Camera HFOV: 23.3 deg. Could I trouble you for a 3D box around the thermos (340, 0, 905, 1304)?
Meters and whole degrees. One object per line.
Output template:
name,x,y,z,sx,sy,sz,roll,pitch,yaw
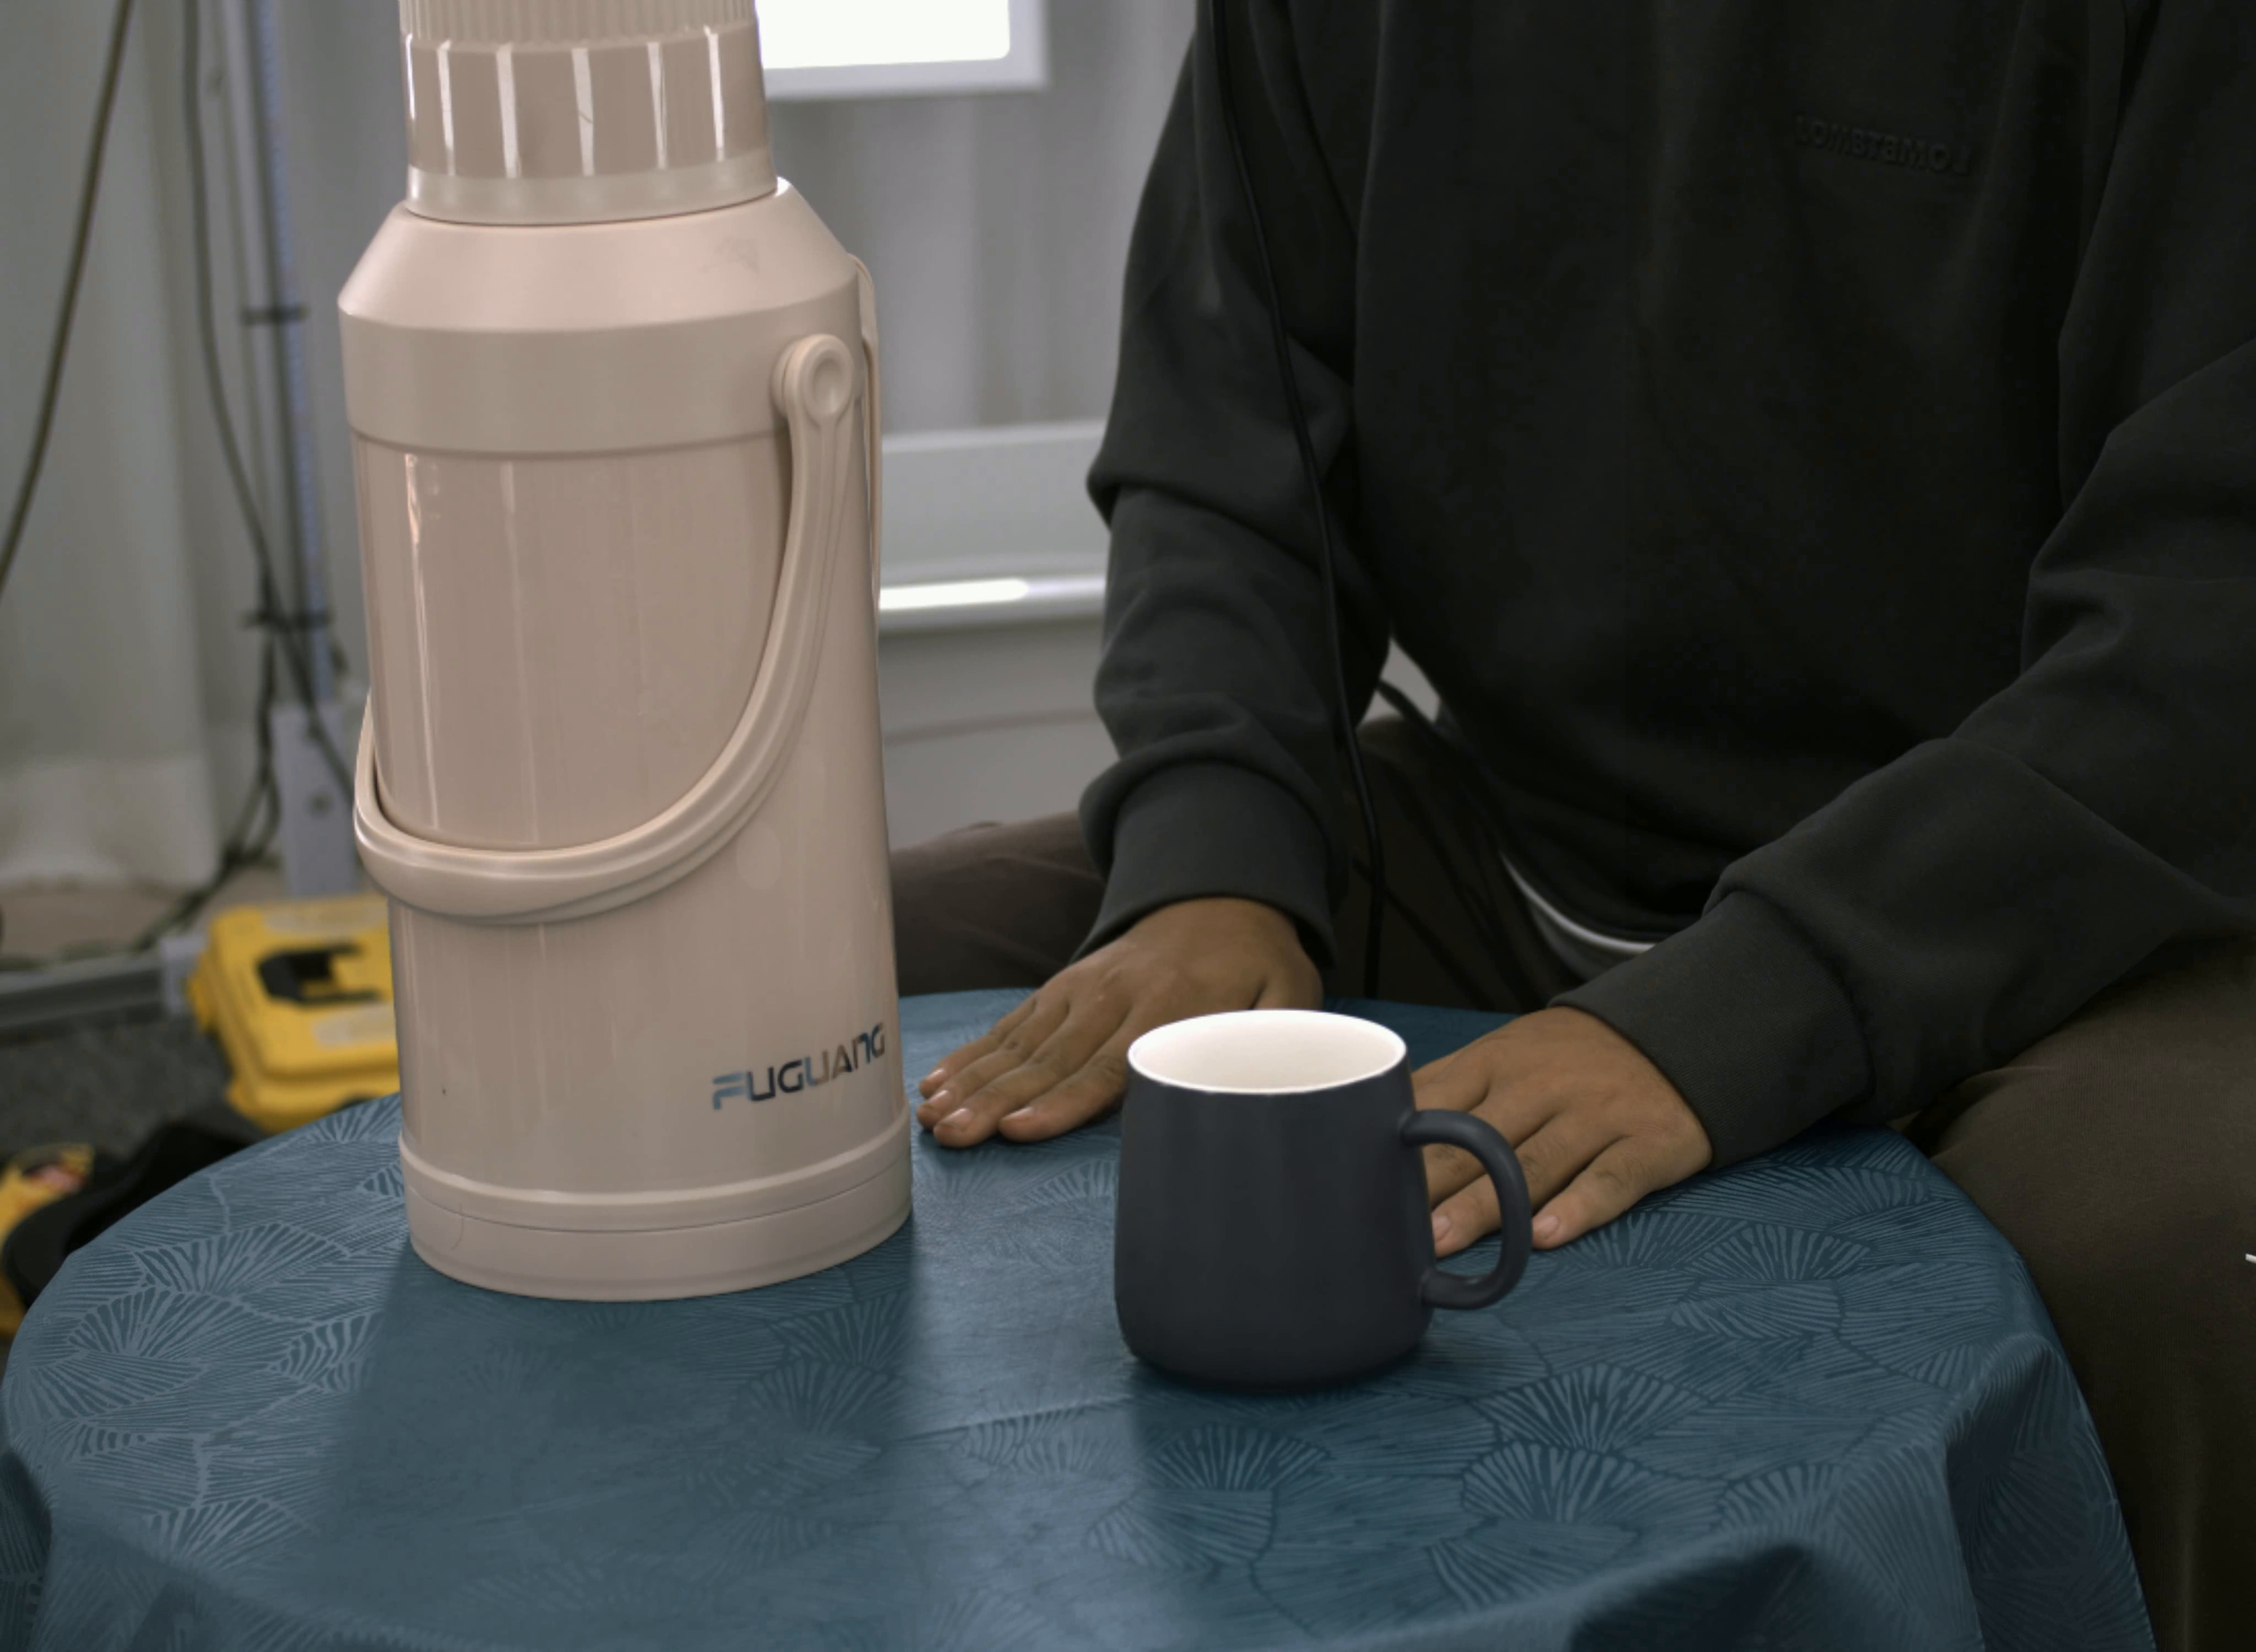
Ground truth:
thermos,-0.145,-0.072,1.678,0.176,0.405,0.207,7,17,35

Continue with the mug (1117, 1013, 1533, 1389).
mug,0.056,0.108,1.558,0.123,0.089,0.094,3,15,23
